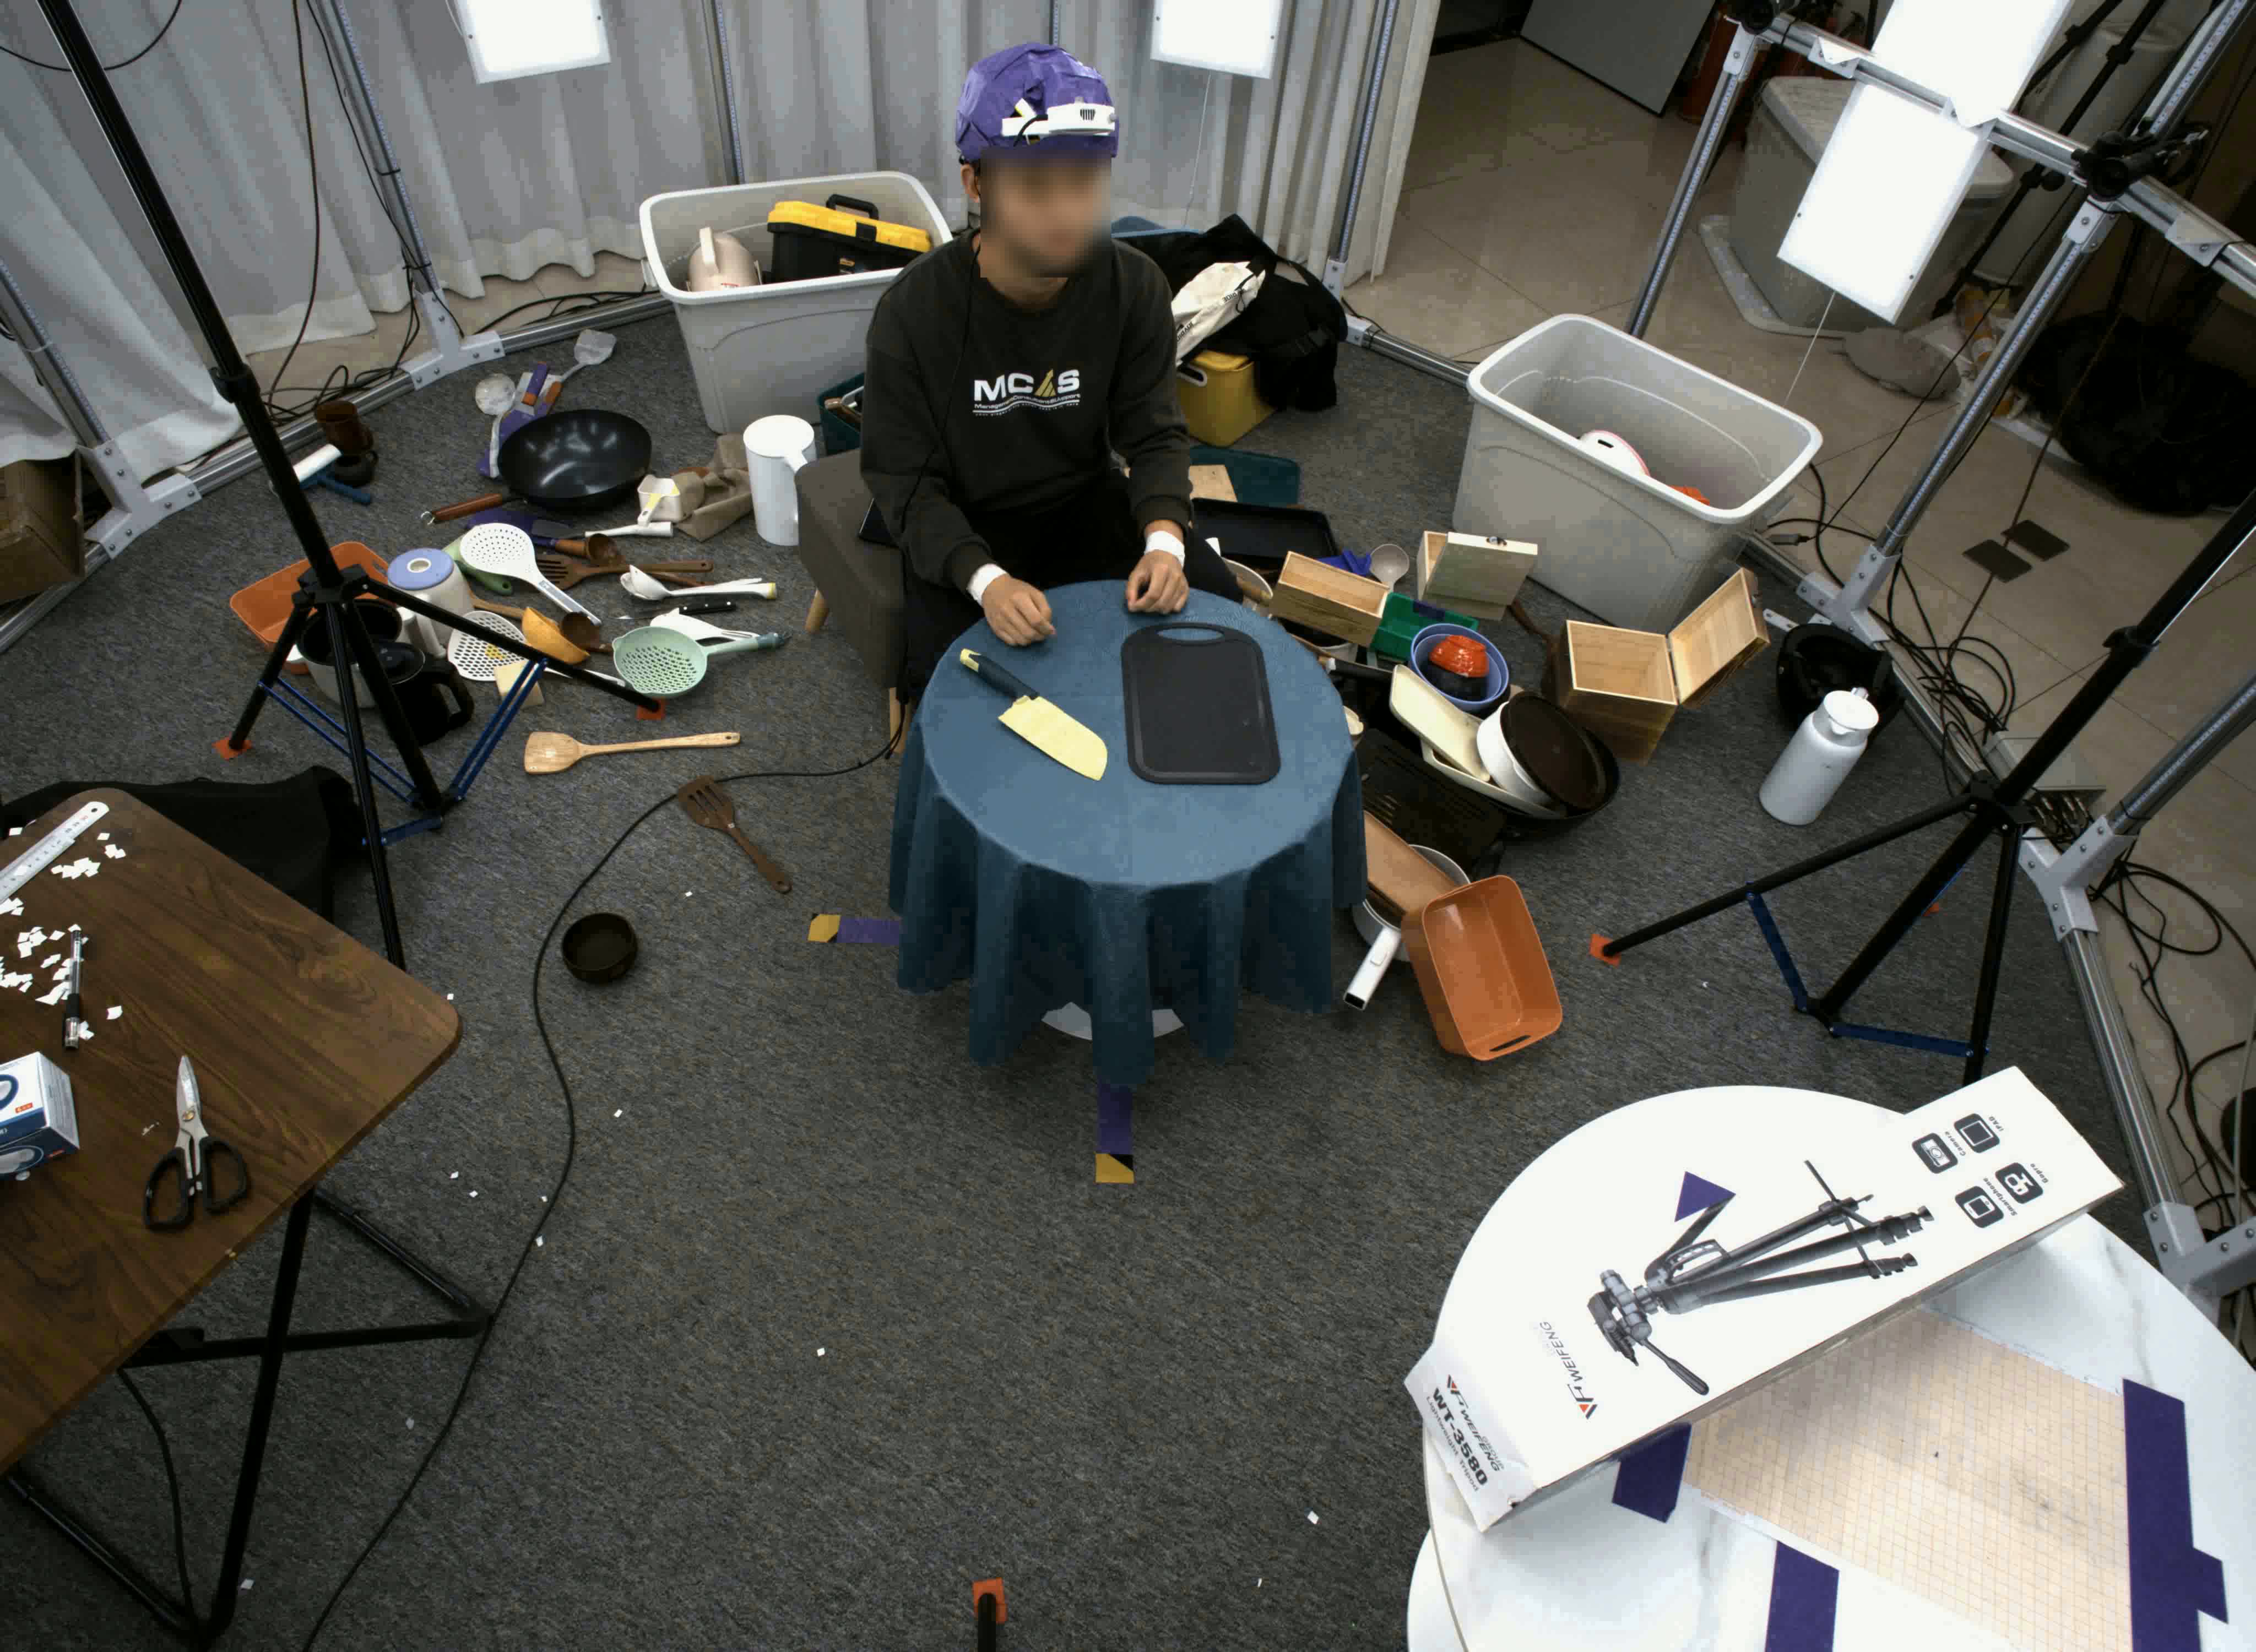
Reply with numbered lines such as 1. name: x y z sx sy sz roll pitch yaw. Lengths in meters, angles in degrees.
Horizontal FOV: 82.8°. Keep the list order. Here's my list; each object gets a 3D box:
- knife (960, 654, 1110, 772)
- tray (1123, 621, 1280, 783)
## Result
1. knife: -0.137 -0.157 1.784 0.293 0.026 0.082 37 55 24
2. tray: 0.100 -0.184 1.829 0.211 0.009 0.333 0 49 -3
